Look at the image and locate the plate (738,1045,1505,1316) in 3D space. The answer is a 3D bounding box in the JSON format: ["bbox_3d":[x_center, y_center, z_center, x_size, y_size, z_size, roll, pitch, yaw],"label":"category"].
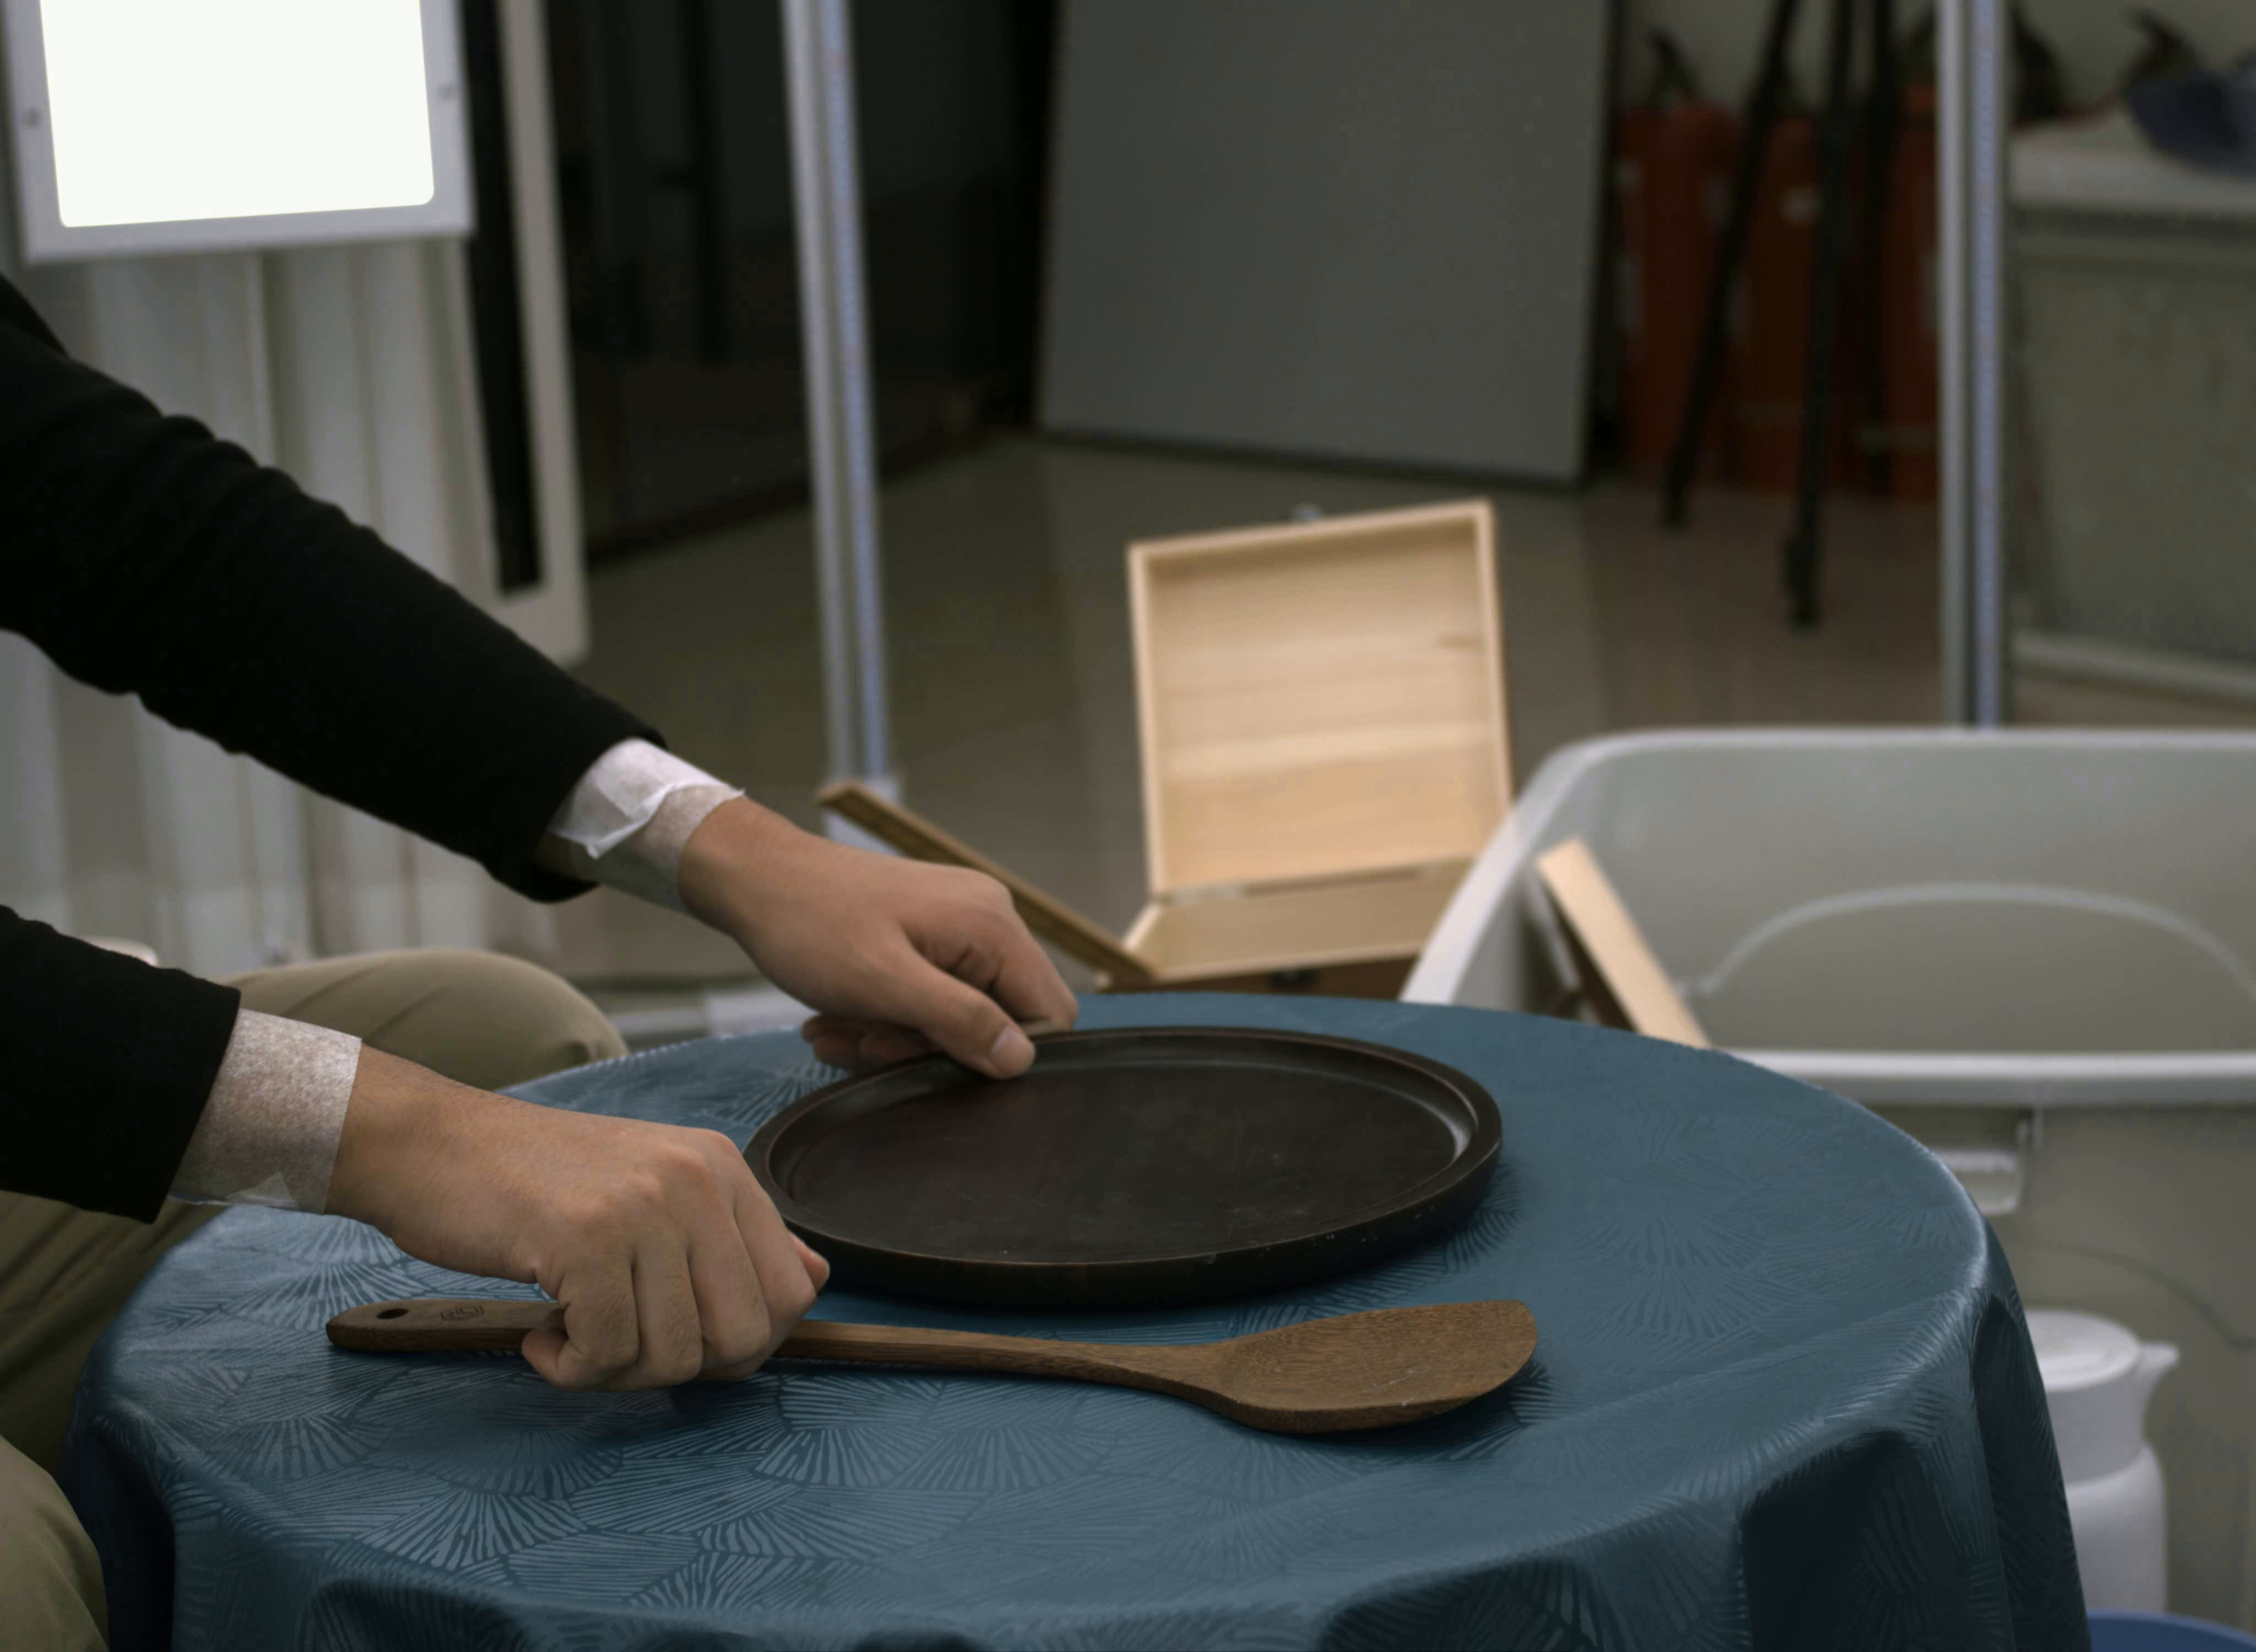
[{"bbox_3d":[-0.002,0.112,1.759,0.251,0.029,0.255,-3,14,0],"label":"plate"}]

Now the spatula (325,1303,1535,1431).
[{"bbox_3d":[-0.066,0.157,1.615,0.385,0.016,0.095,0,14,19],"label":"spatula"}]
